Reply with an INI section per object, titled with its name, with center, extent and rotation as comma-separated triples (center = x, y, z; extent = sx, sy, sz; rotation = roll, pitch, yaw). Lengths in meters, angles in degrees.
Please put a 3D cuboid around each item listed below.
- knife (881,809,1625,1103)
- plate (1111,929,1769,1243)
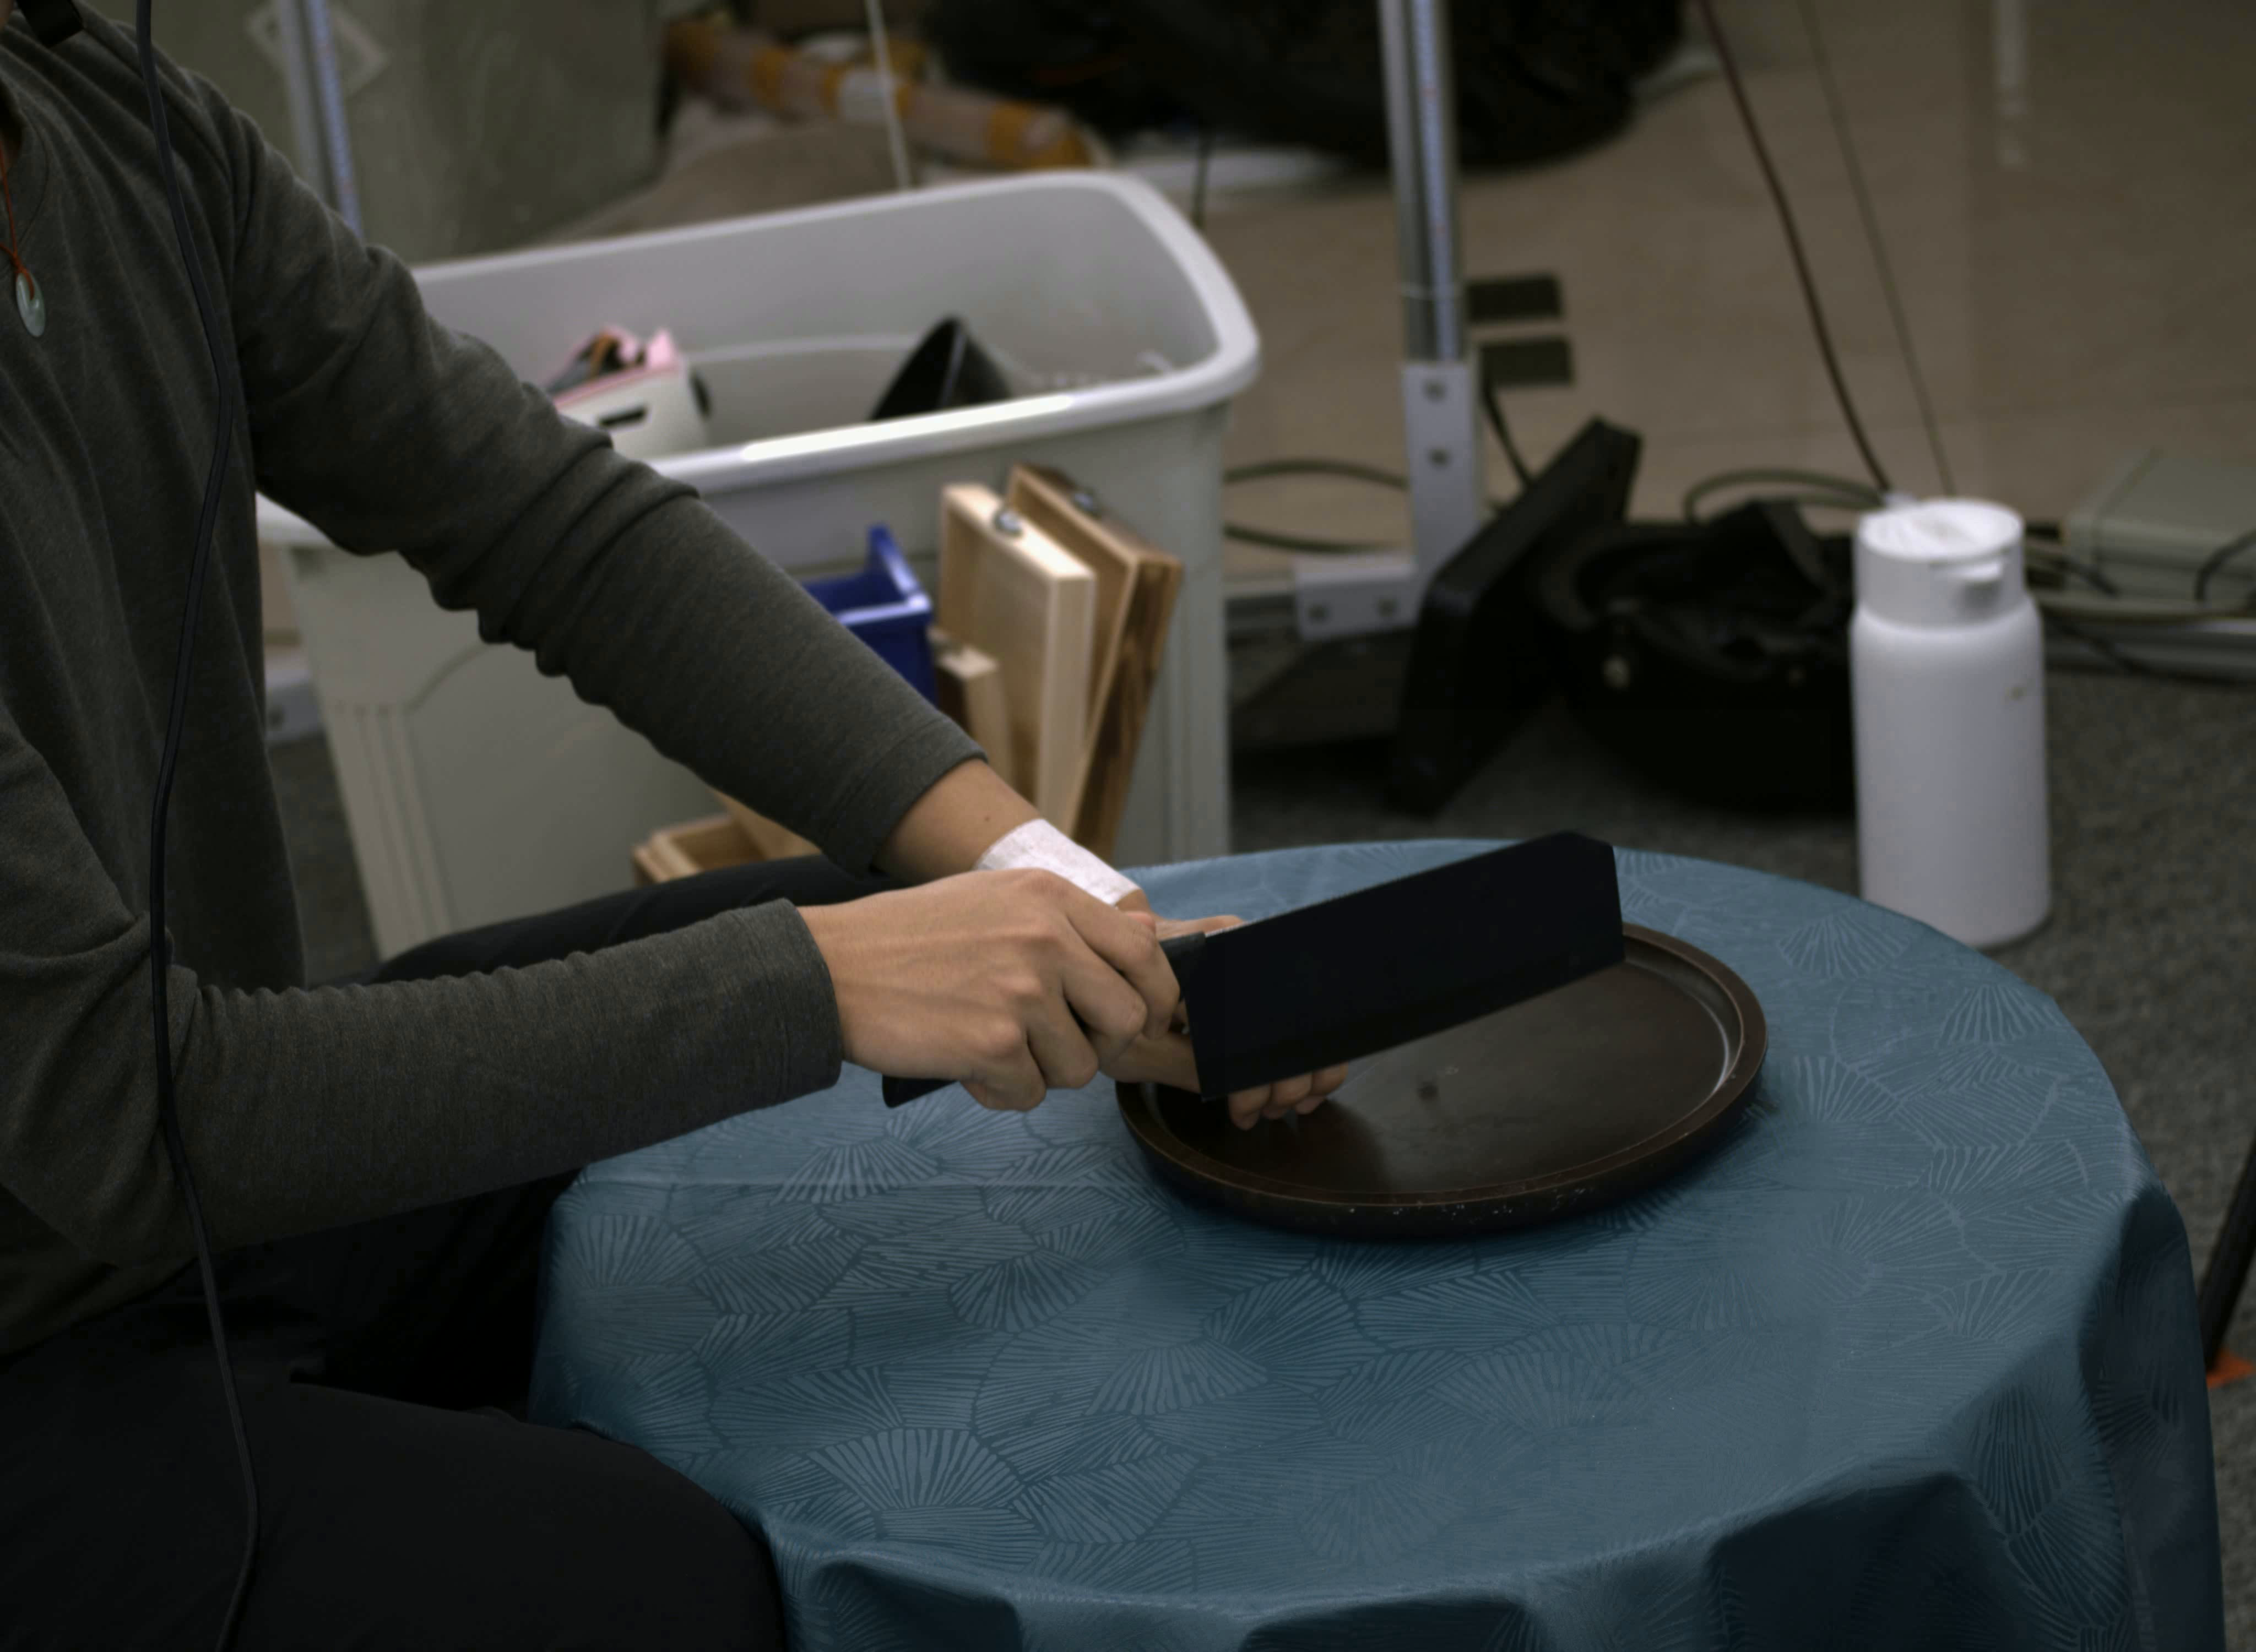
[knife]
center = 0.050, 0.059, 2.122
extent = 0.301, 0.082, 0.020
rotation = -12, 21, -19
[plate]
center = 0.120, 0.095, 2.189
extent = 0.254, 0.029, 0.251
rotation = -5, 26, 3
